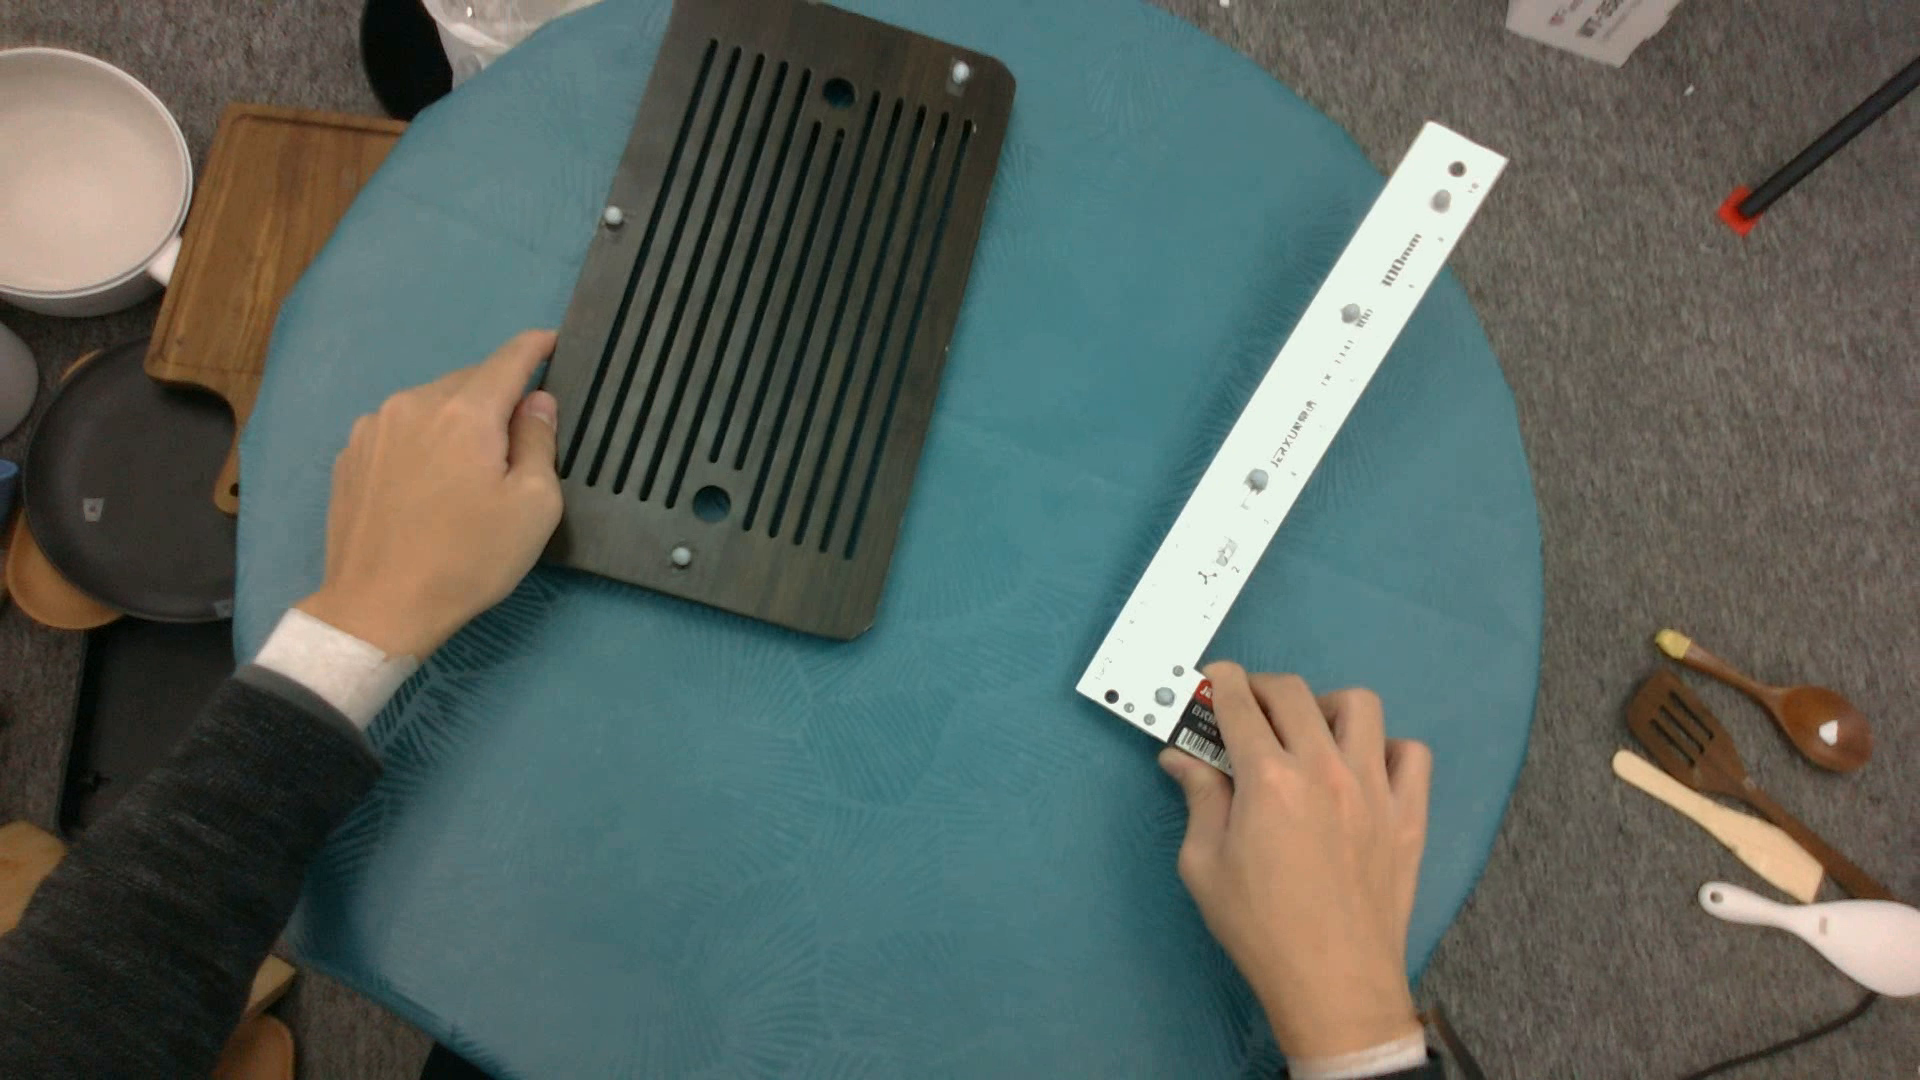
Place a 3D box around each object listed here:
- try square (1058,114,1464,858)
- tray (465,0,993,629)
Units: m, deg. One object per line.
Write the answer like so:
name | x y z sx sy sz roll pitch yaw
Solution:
try square | 0.185 -0.032 0.617 0.152 0.016 0.313 30 82 9
tray | -0.098 -0.120 0.643 0.170 0.018 0.307 16 71 -6
